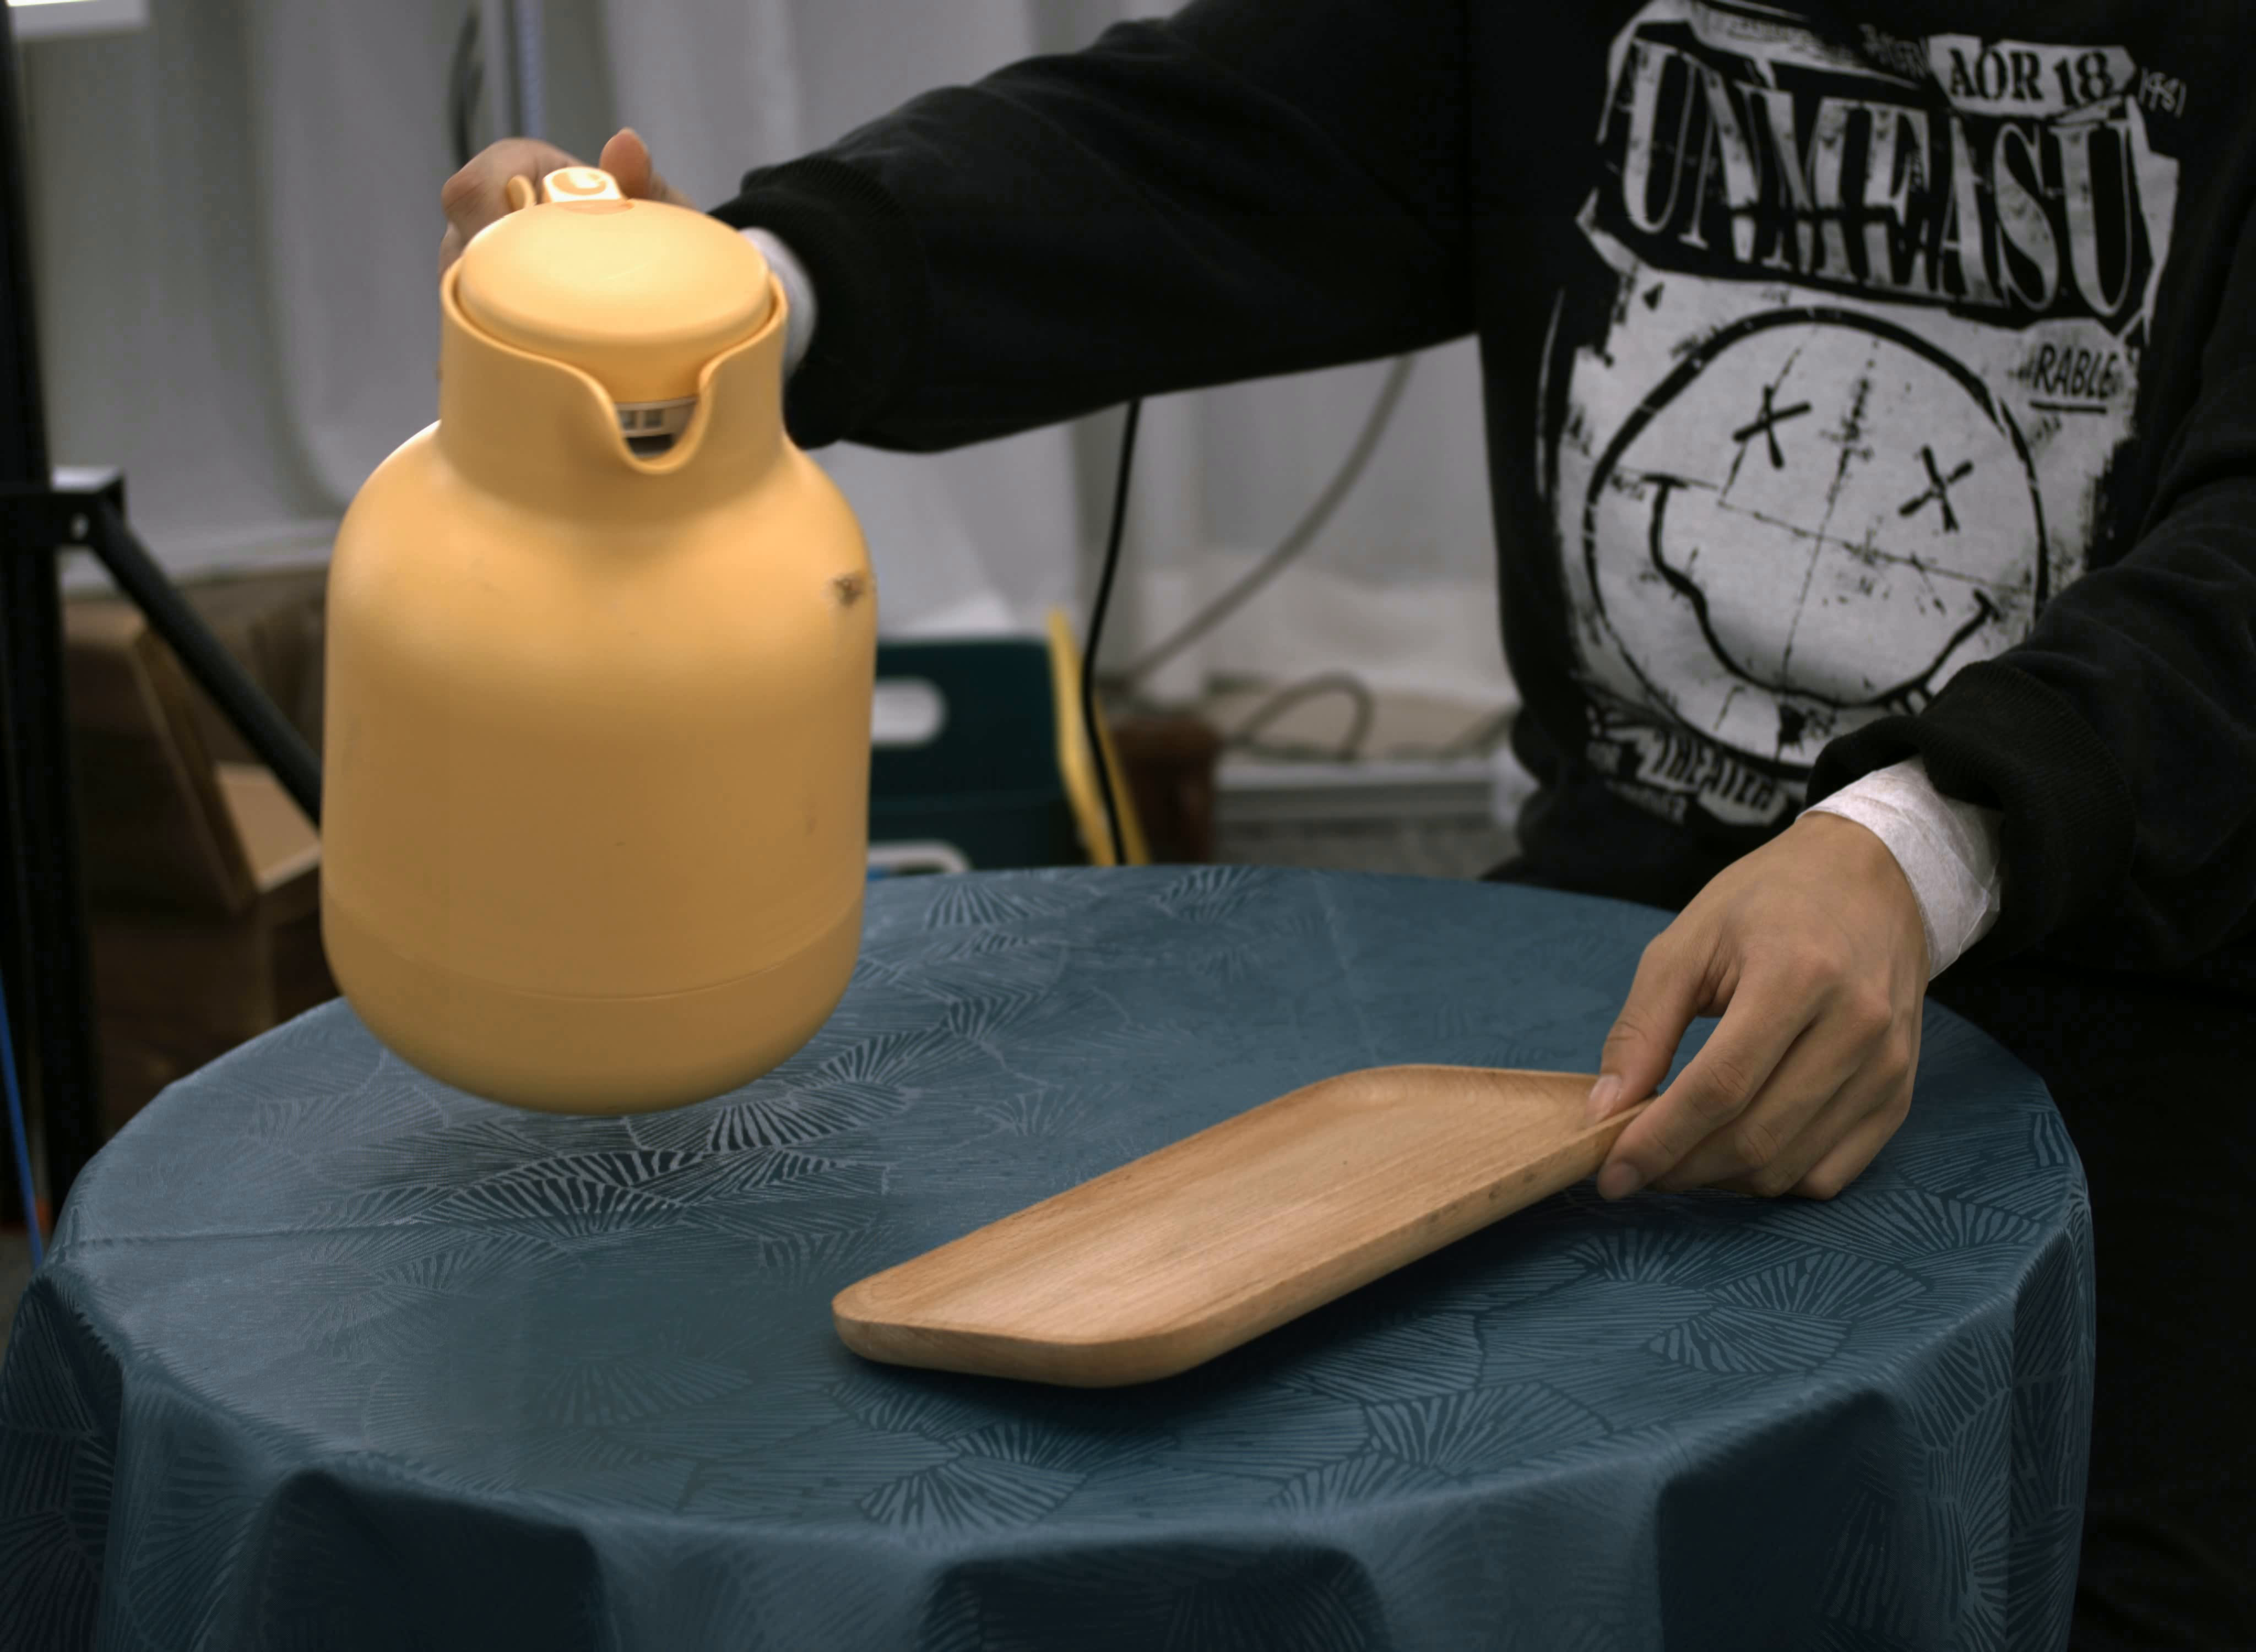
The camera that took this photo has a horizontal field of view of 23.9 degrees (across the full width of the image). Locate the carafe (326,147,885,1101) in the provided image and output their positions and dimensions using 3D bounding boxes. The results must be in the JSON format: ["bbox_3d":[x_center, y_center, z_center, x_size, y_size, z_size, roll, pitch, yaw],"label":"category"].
[{"bbox_3d":[-0.154,-0.069,1.581,0.161,0.260,0.205,-1,34,-13],"label":"carafe"}]

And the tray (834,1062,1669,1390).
[{"bbox_3d":[0.039,0.109,1.480,0.133,0.023,0.245,5,17,43],"label":"tray"}]
